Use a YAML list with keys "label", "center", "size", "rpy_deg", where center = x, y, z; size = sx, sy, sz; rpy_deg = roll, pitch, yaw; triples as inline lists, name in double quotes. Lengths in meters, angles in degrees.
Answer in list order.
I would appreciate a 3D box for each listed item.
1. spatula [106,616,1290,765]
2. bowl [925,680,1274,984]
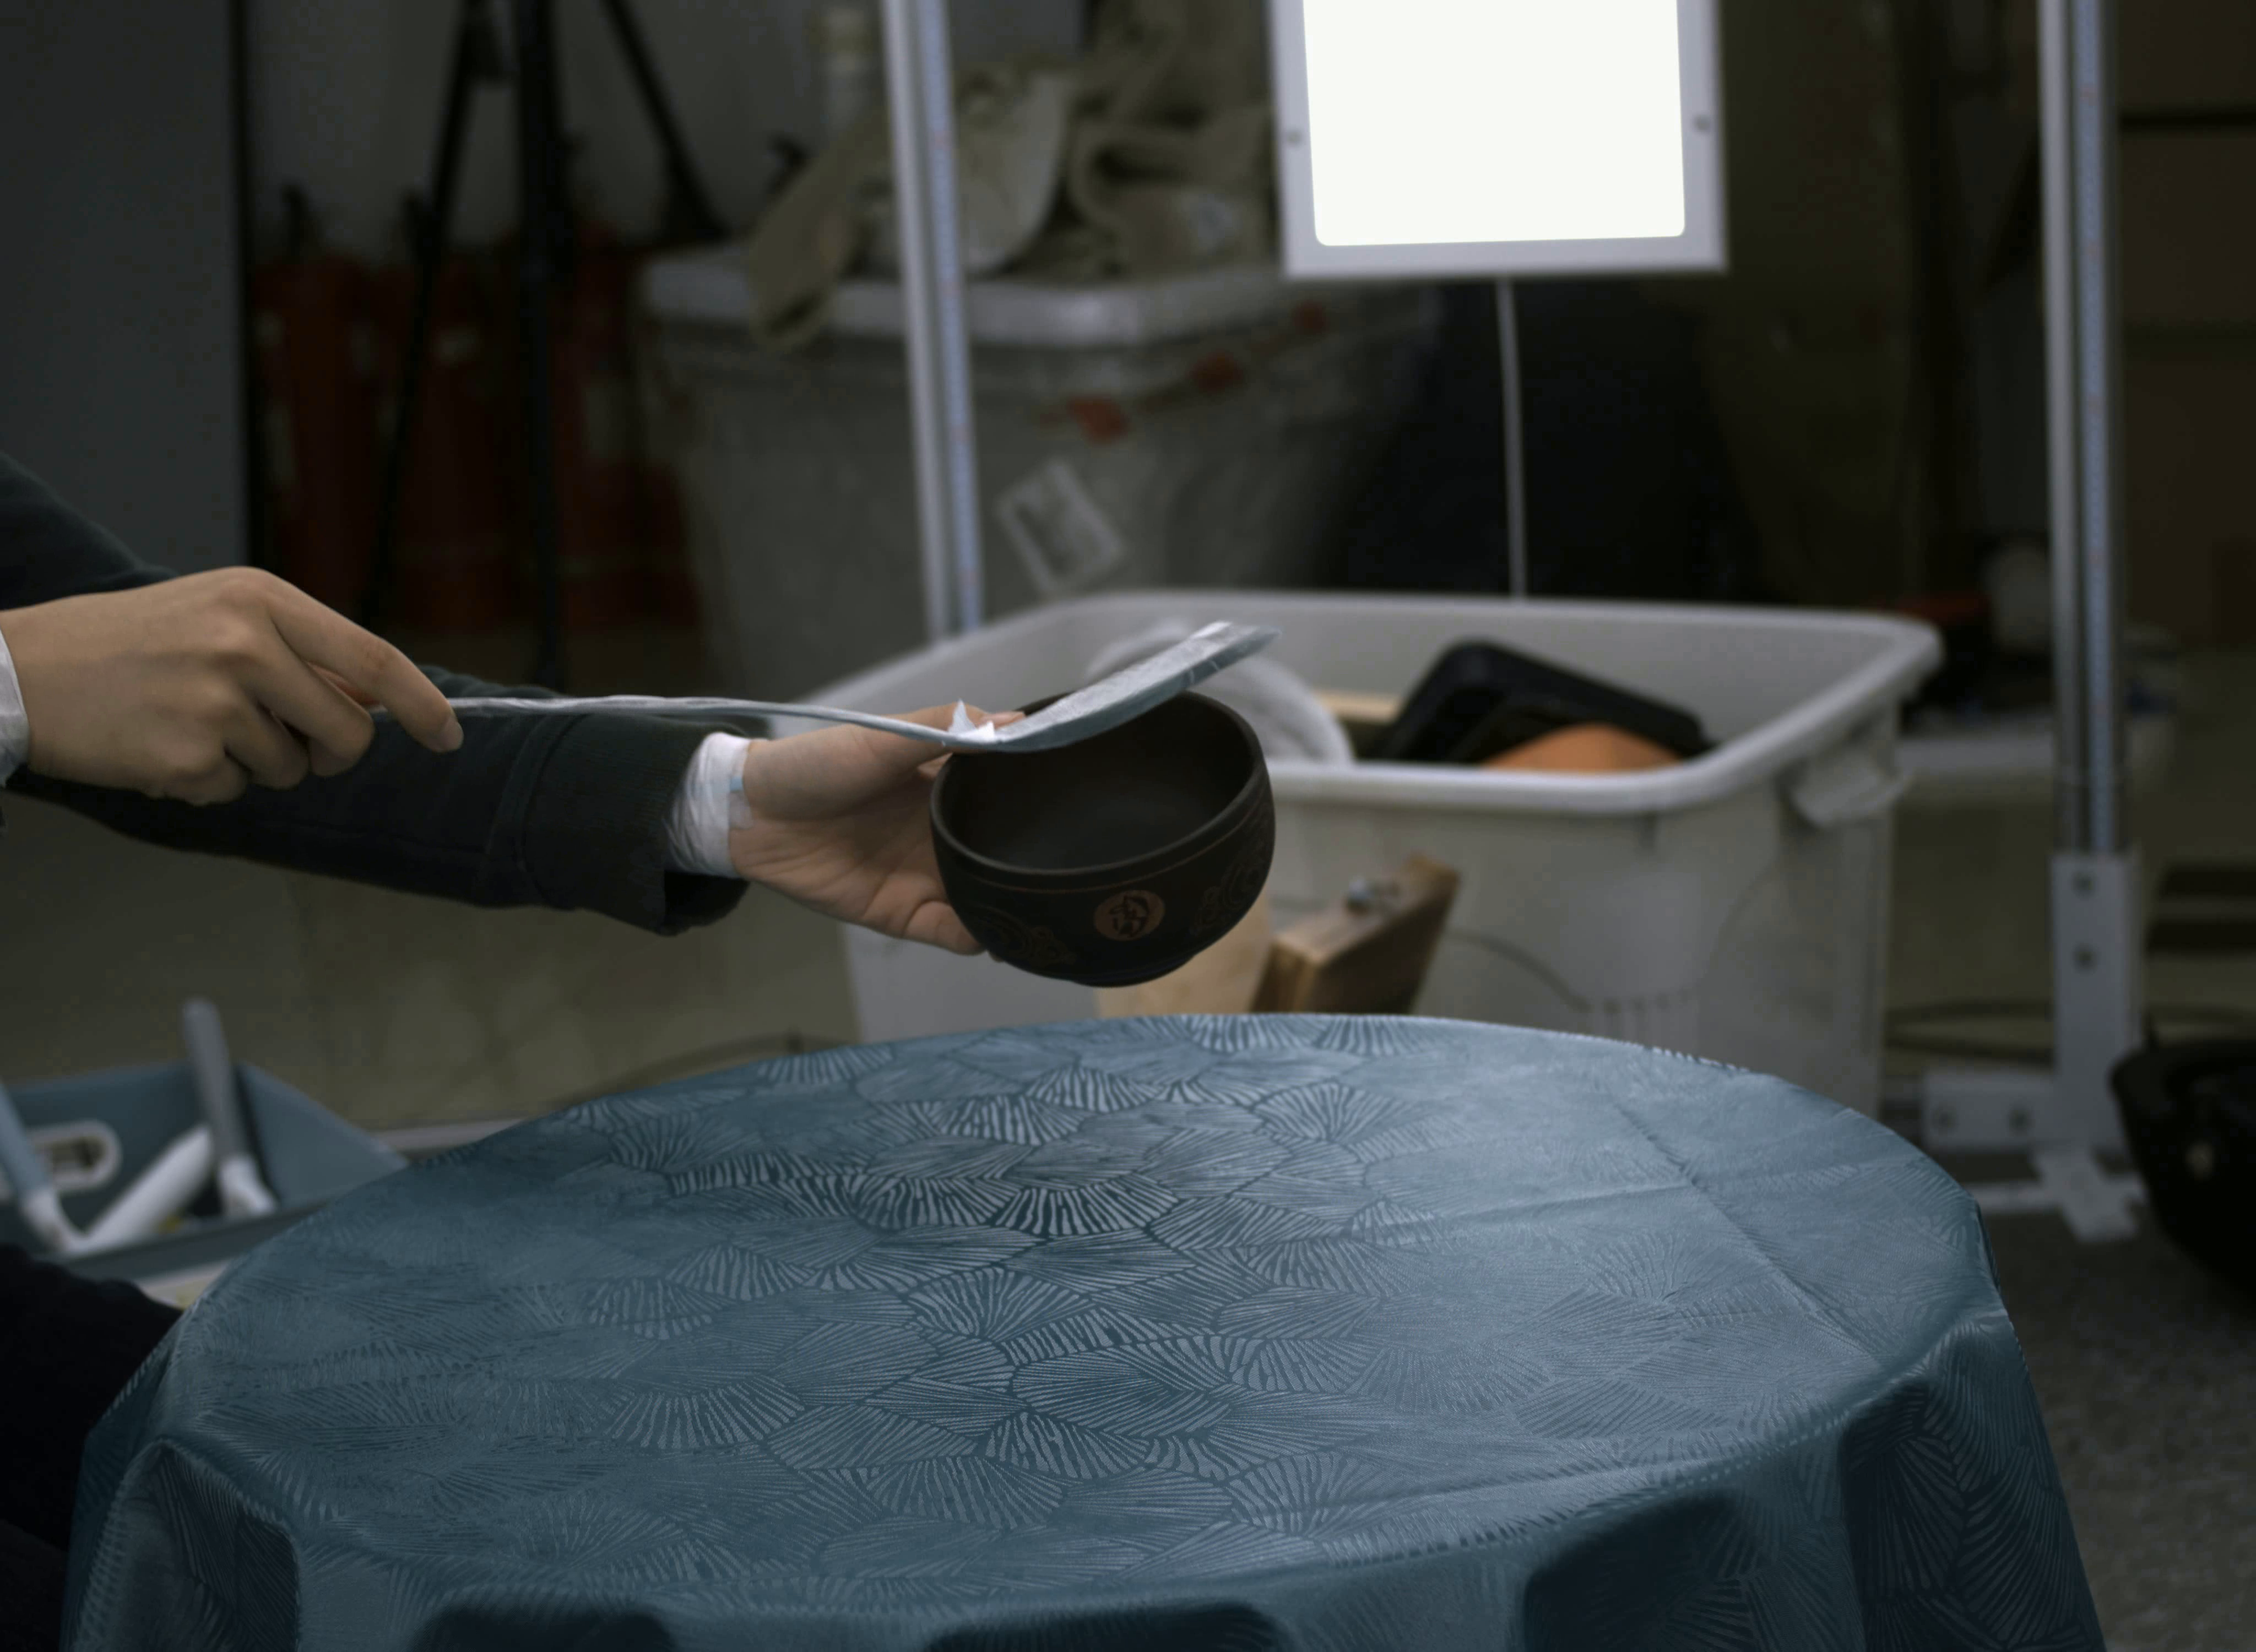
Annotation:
- label: "spatula"
  center: [-0.131, -0.041, 1.694]
  size: [0.362, 0.045, 0.099]
  rpy_deg: [0, 4, -5]
- label: "bowl"
  center: [-0.007, 0.010, 1.873]
  size: [0.118, 0.070, 0.118]
  rpy_deg: [-9, 32, 4]
